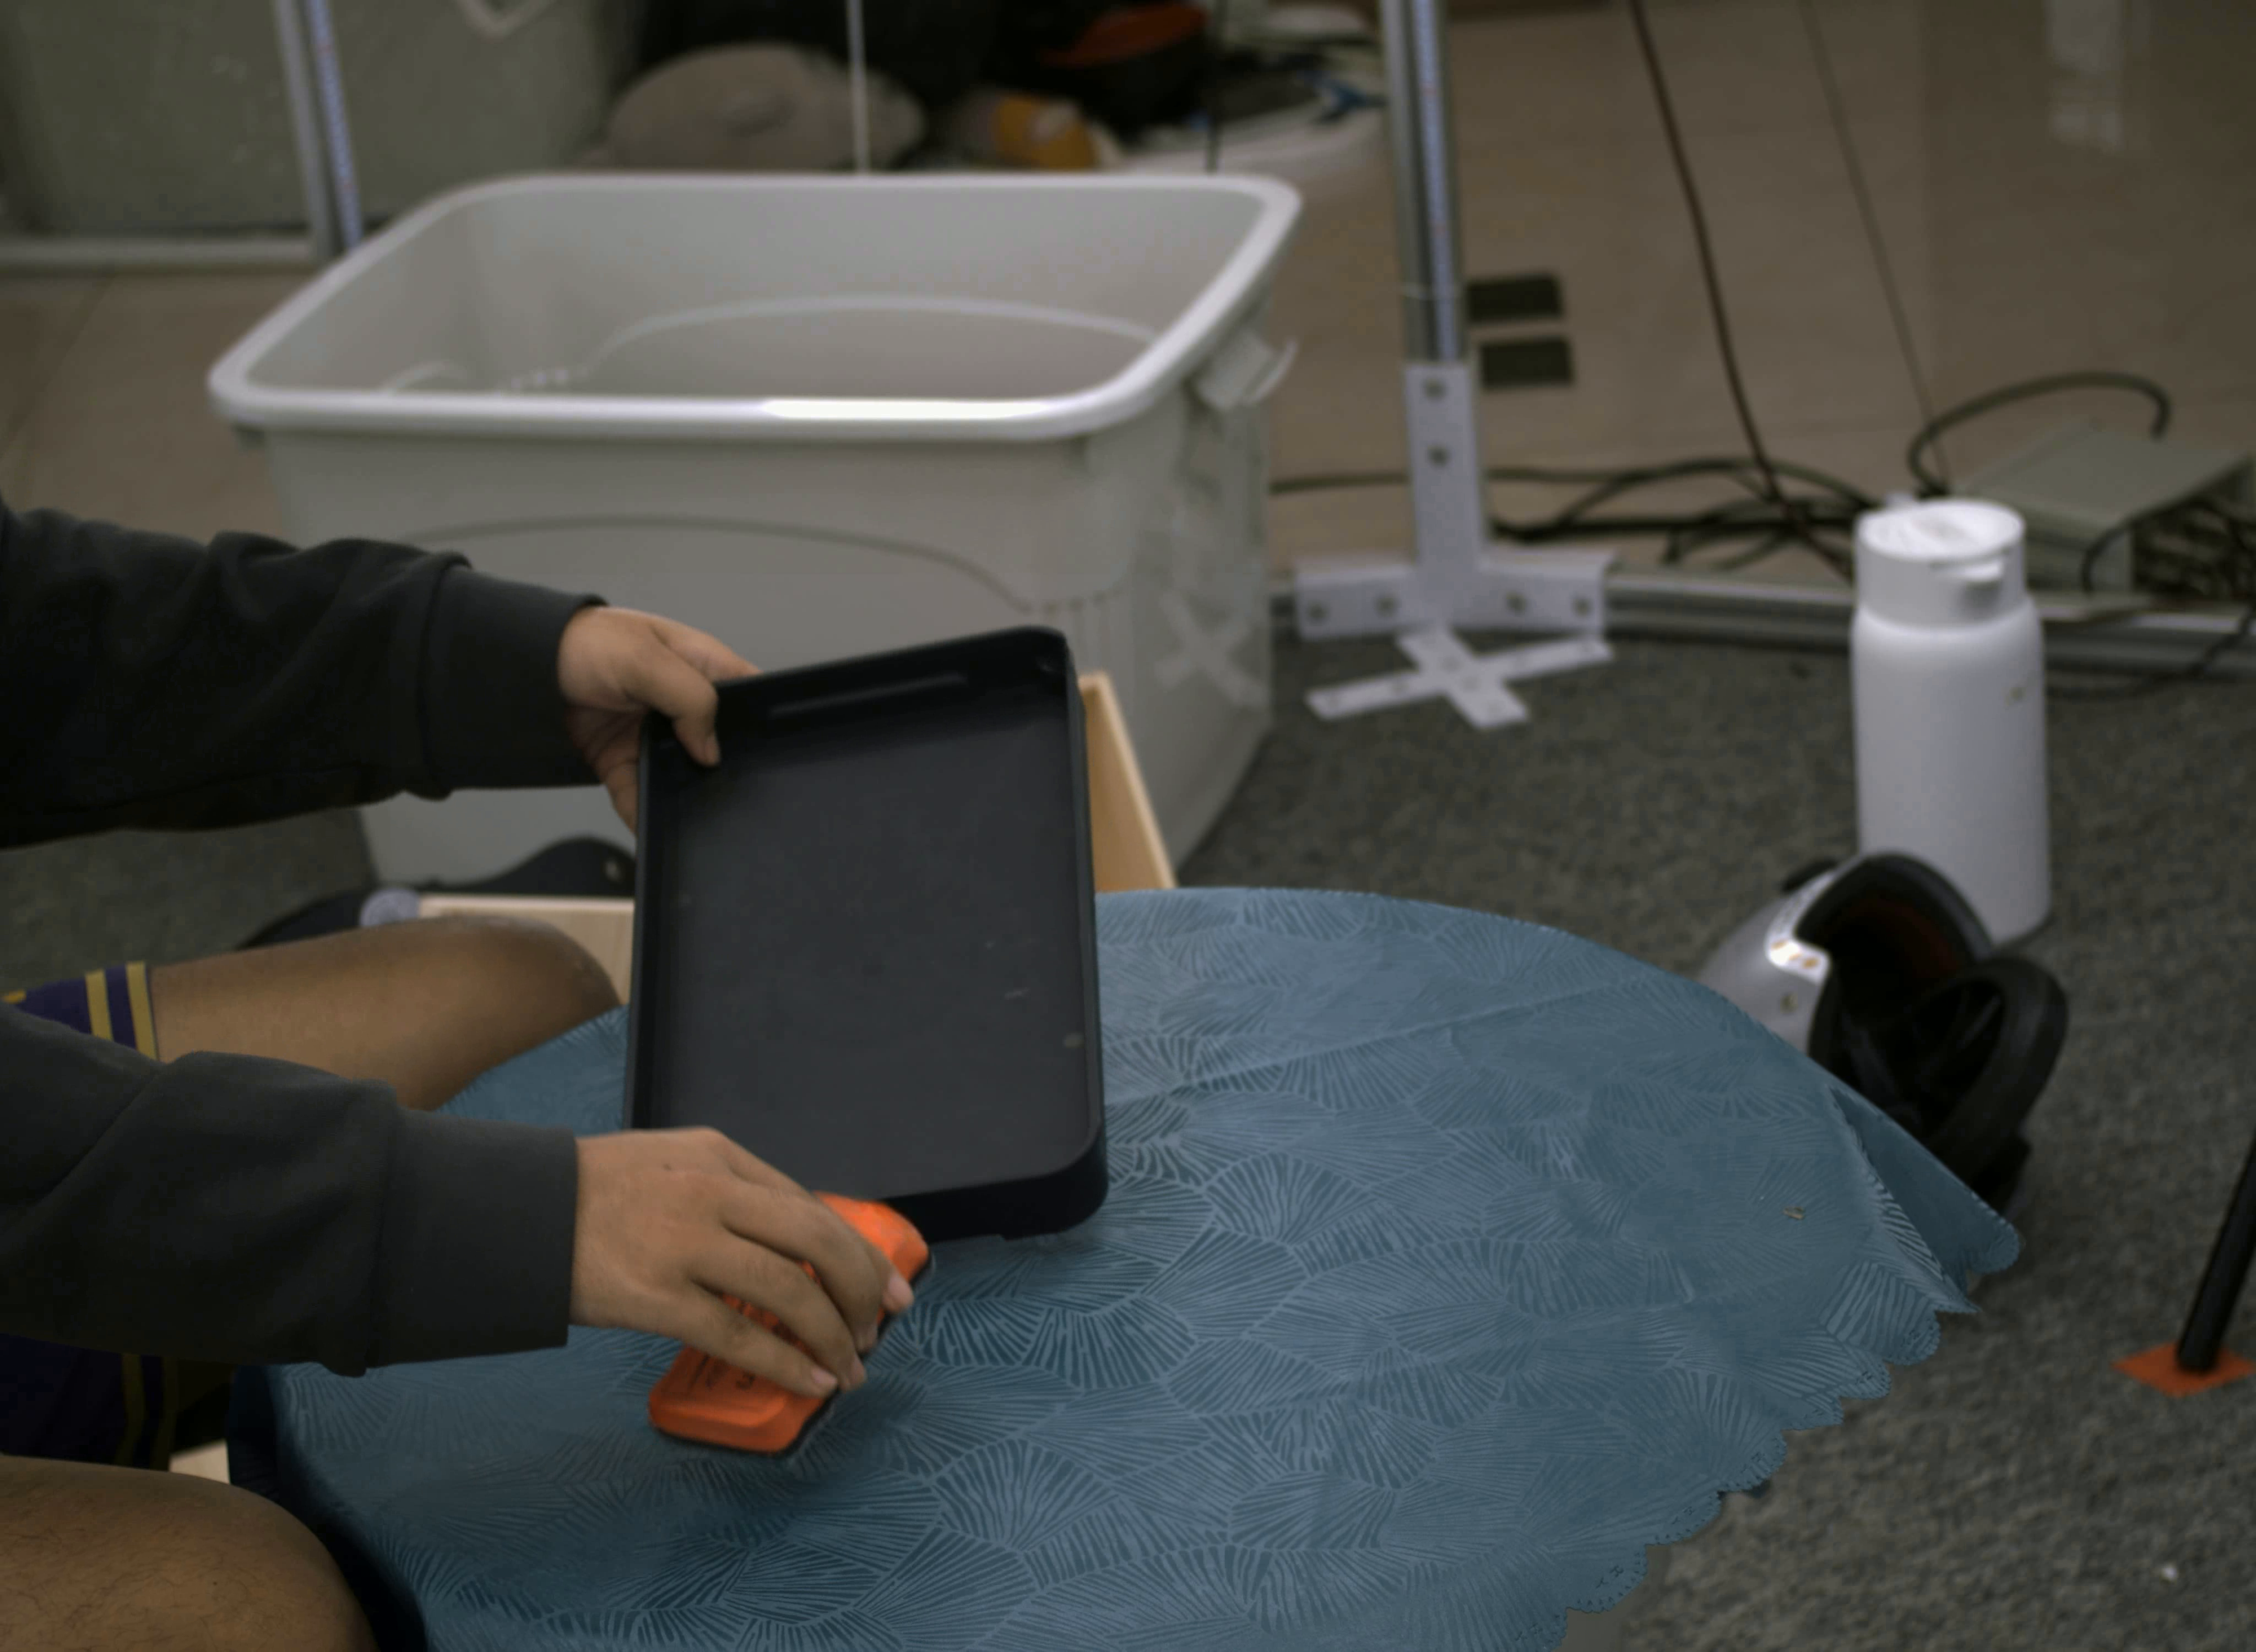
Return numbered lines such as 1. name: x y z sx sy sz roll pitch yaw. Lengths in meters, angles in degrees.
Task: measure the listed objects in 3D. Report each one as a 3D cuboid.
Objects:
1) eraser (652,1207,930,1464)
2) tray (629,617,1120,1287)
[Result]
1. eraser: -0.118 0.178 1.990 0.059 0.023 0.106 -1 40 39
2. tray: -0.101 0.044 2.211 0.184 0.038 0.312 -11 42 5
